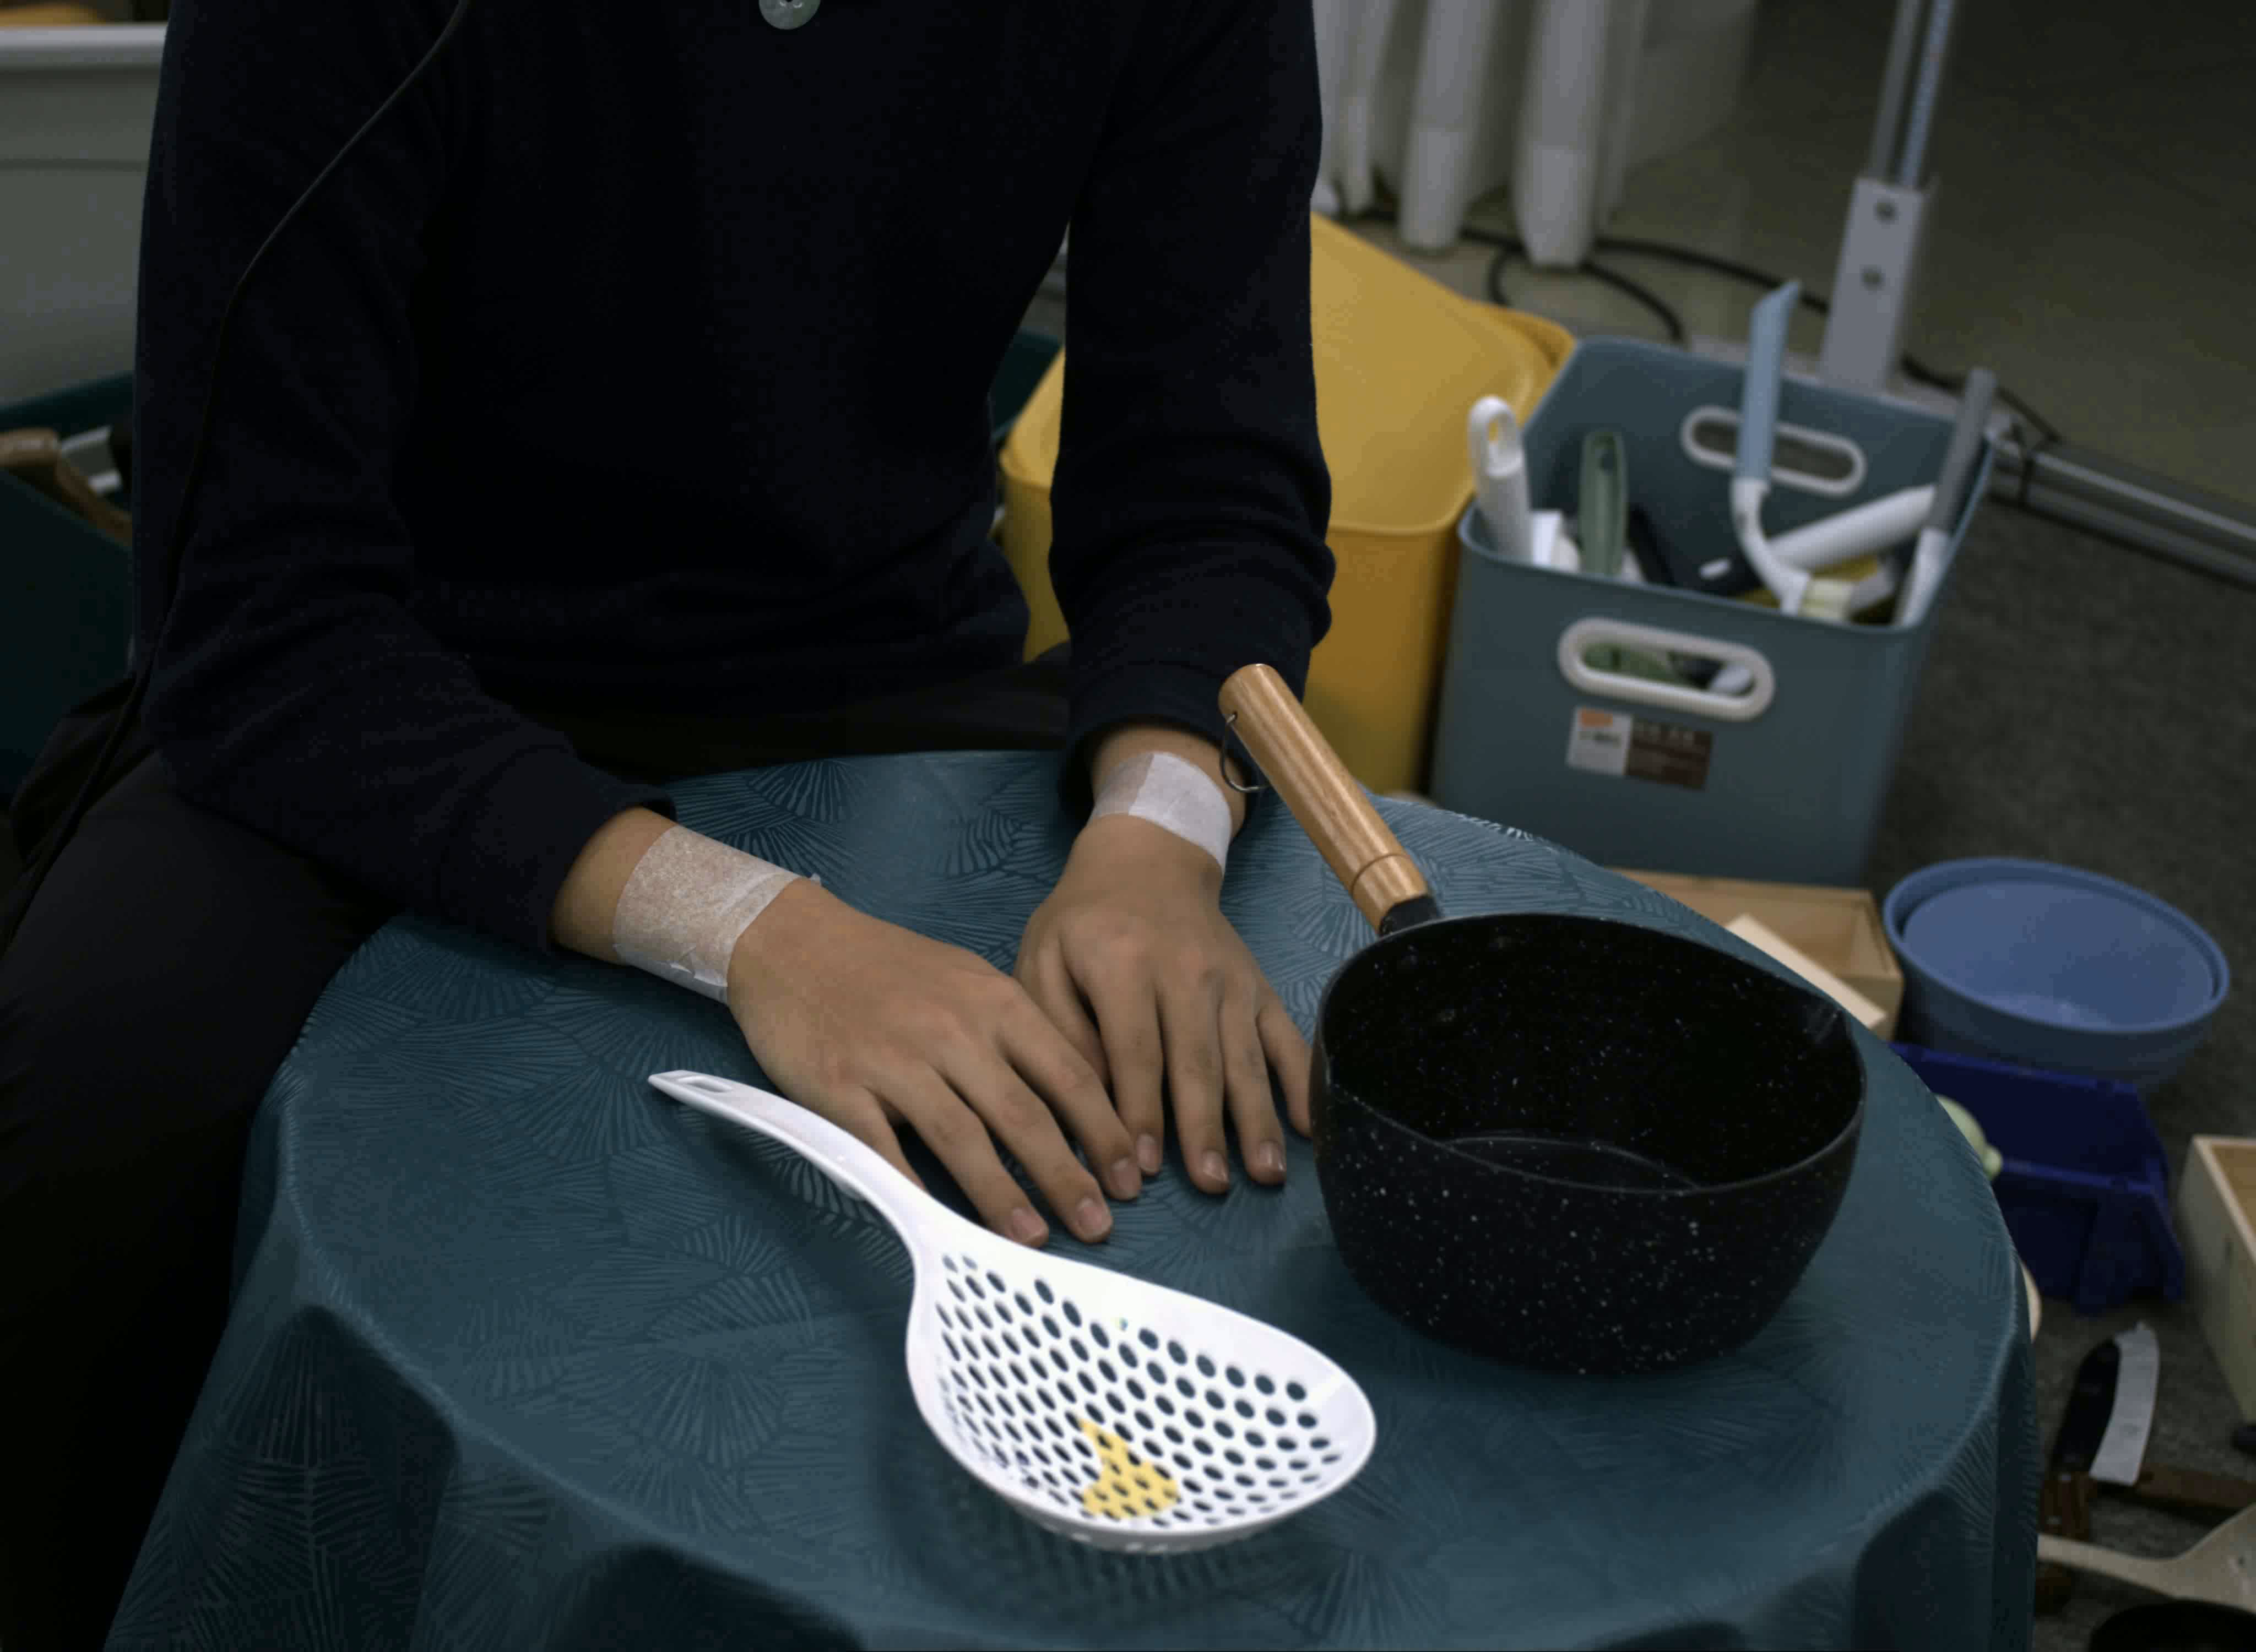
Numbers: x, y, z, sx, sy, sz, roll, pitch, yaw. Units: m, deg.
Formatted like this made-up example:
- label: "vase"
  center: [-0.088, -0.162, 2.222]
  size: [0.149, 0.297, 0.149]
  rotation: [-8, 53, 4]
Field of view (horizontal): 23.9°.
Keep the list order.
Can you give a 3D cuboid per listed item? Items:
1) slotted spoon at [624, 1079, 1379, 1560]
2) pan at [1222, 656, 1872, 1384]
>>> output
- label: "slotted spoon"
  center: [-0.059, 0.145, 1.701]
  size: [0.136, 0.050, 0.351]
  rotation: [-15, 35, -33]
- label: "pan"
  center: [0.113, 0.063, 1.827]
  size: [0.206, 0.108, 0.346]
  rotation: [-10, 32, -27]
